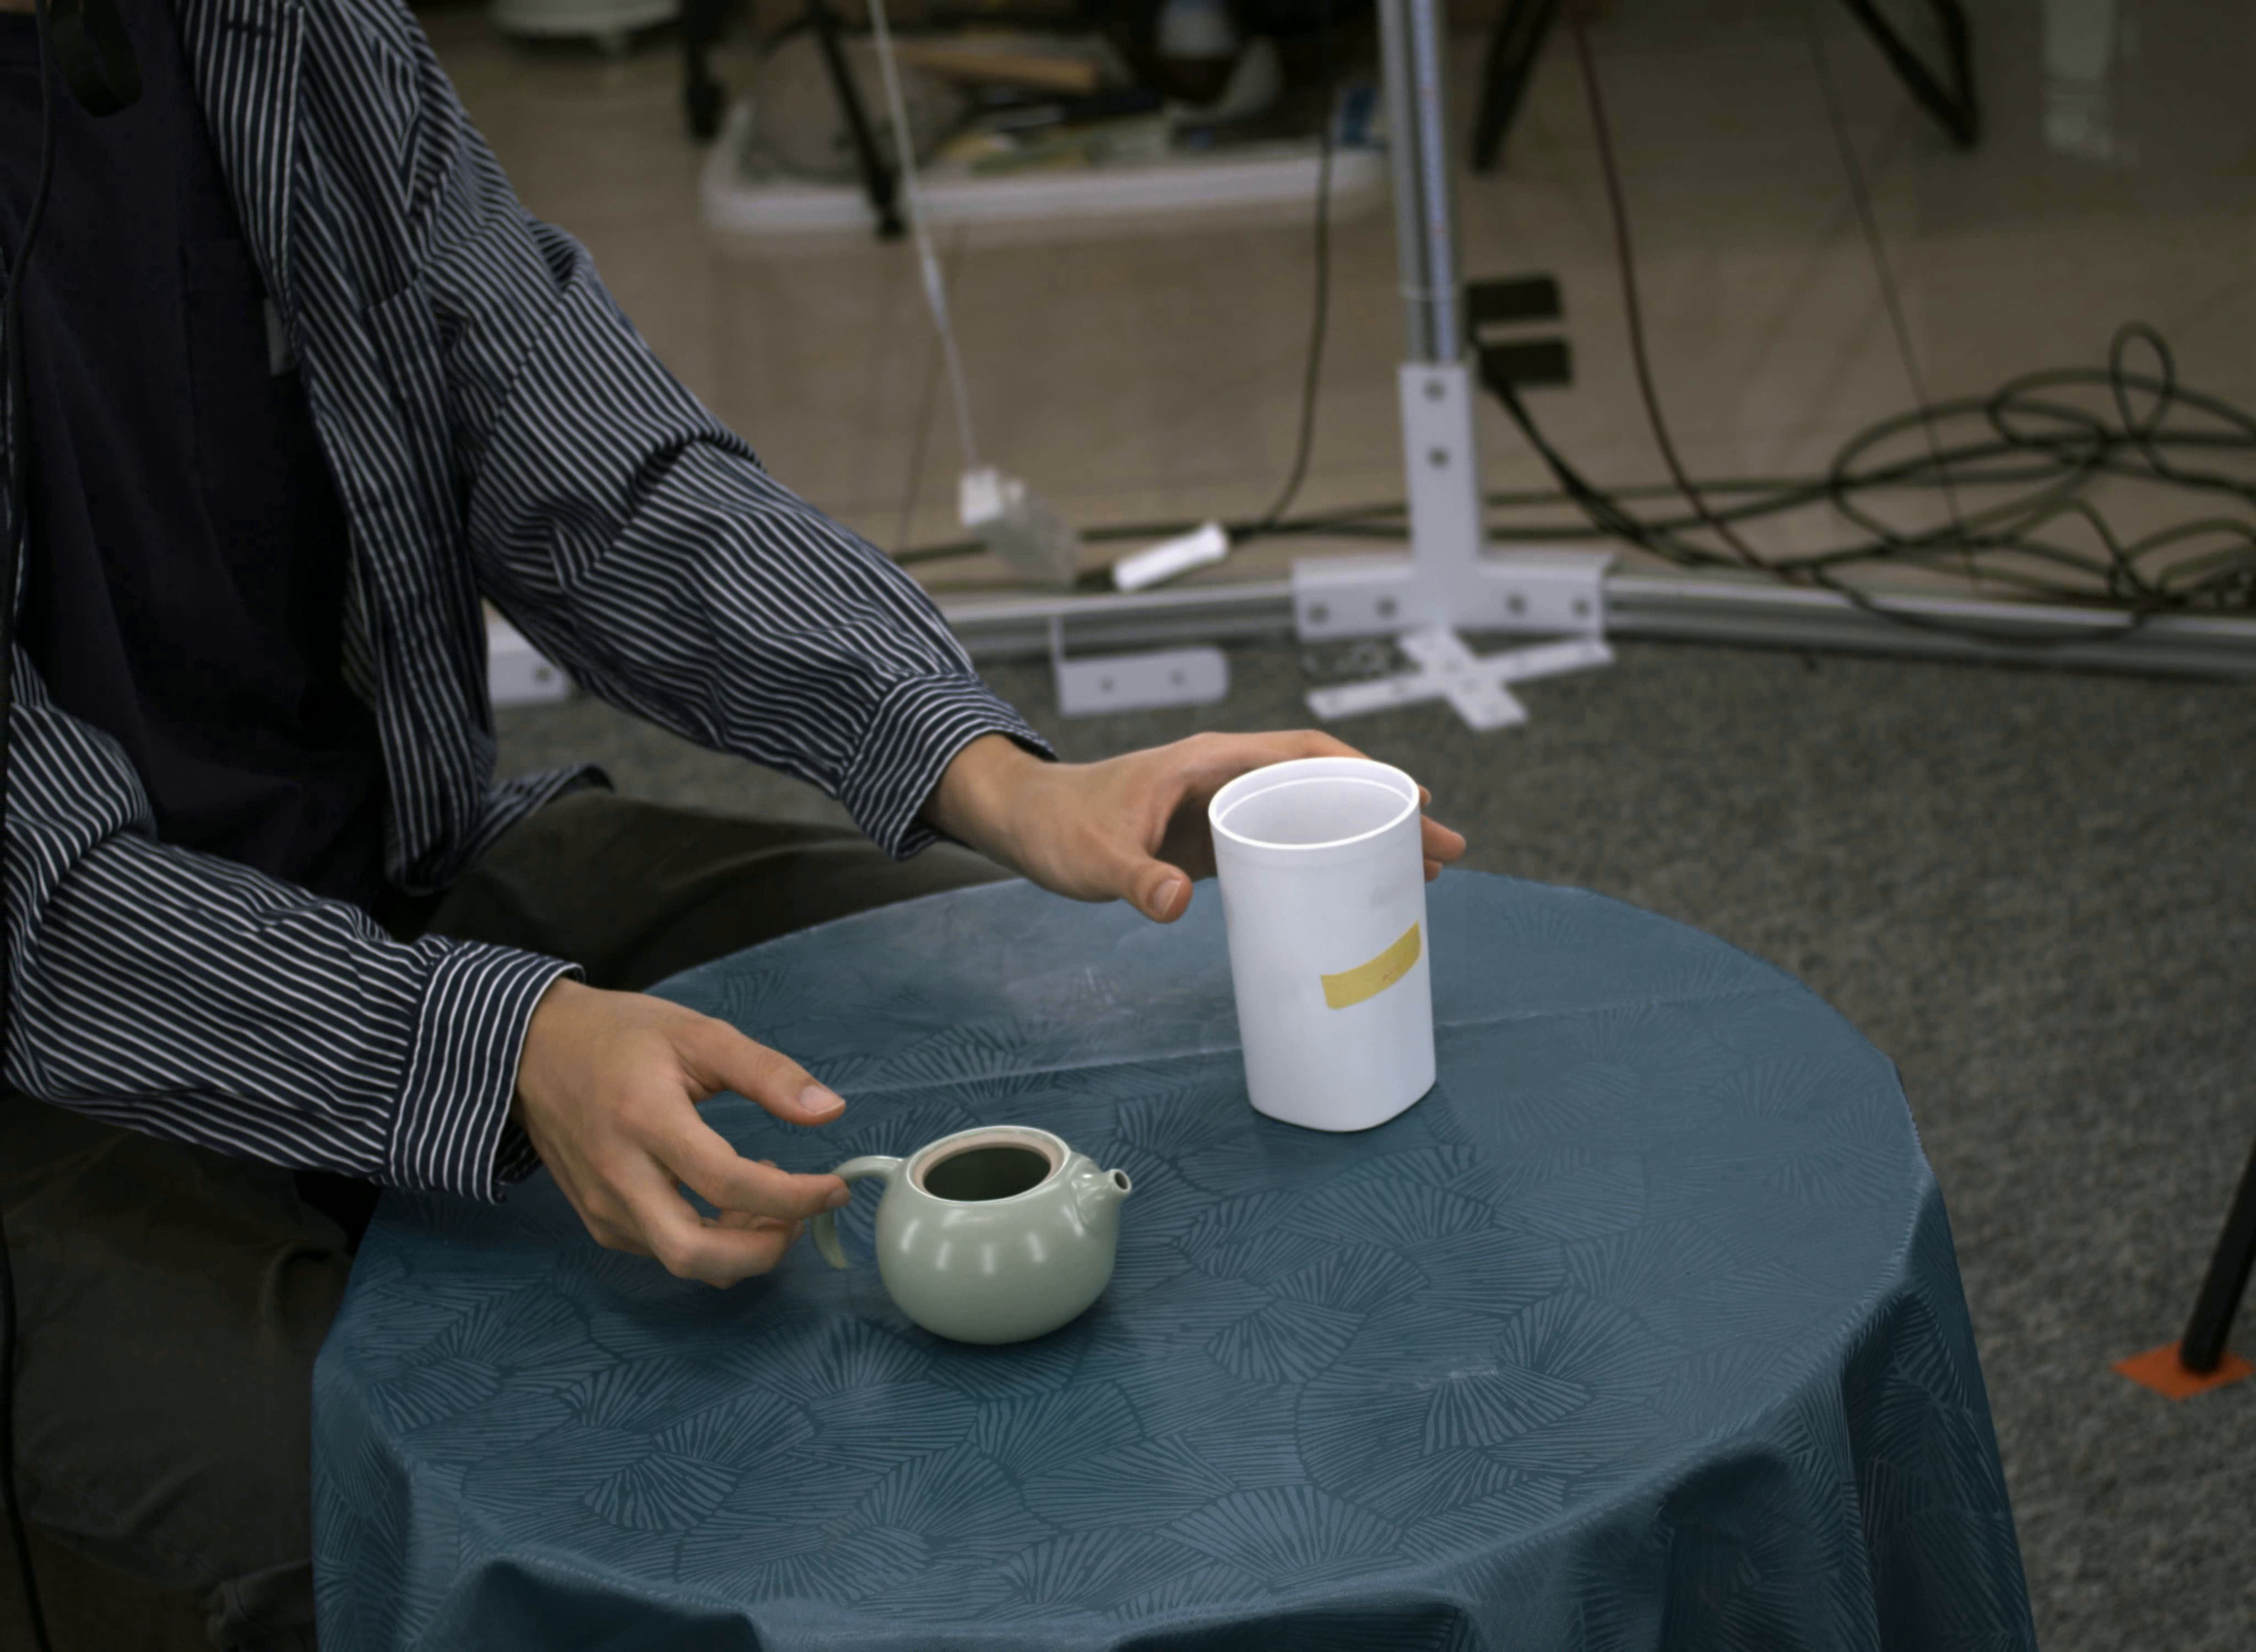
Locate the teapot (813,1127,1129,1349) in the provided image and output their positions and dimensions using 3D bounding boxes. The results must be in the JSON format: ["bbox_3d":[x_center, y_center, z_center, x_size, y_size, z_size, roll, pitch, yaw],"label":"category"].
[{"bbox_3d":[-0.057,0.150,2.072,0.128,0.062,0.090,5,30,23],"label":"teapot"}]

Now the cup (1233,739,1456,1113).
[{"bbox_3d":[0.086,0.040,2.185,0.081,0.127,0.080,-5,26,3],"label":"cup"}]
